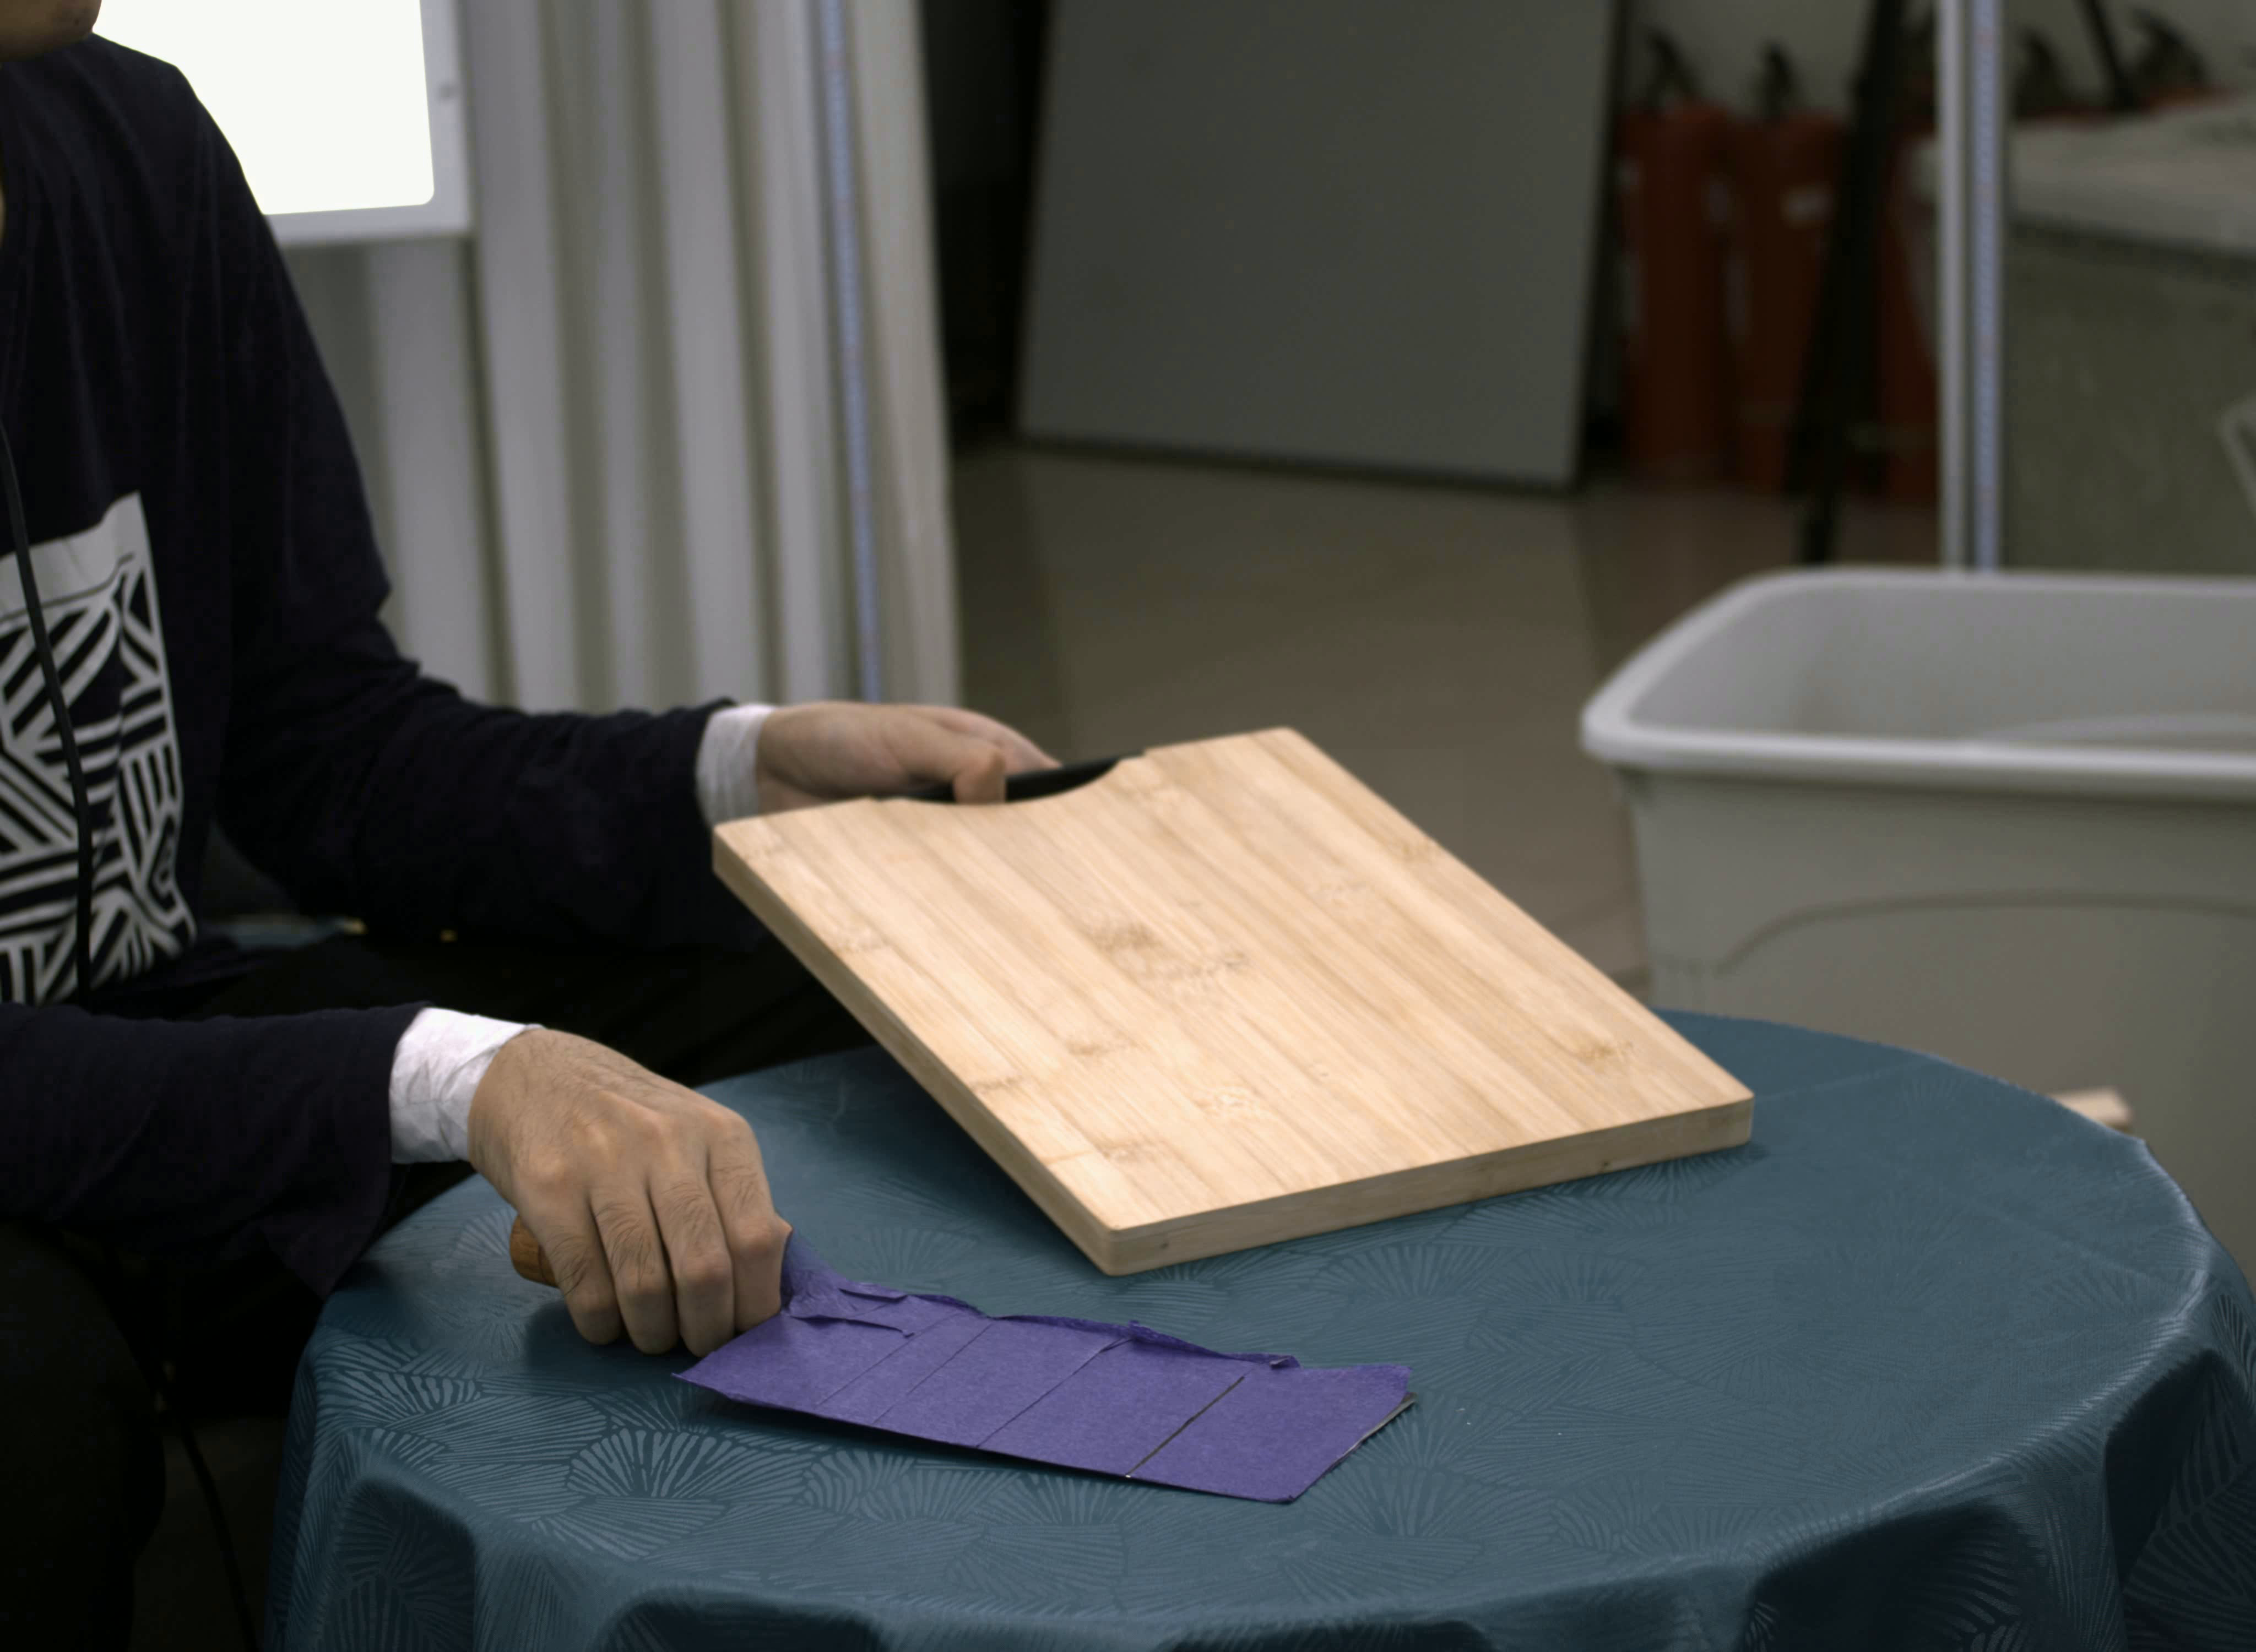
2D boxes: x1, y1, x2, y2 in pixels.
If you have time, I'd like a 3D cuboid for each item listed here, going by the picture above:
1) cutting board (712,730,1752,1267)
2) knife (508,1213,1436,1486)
[{"bbox_3d":[0.027,0.053,1.877,0.245,0.024,0.352,-10,26,-24],"label":"cutting board"},{"bbox_3d":[-0.067,0.154,1.600,0.316,0.032,0.102,4,16,30],"label":"knife"}]
